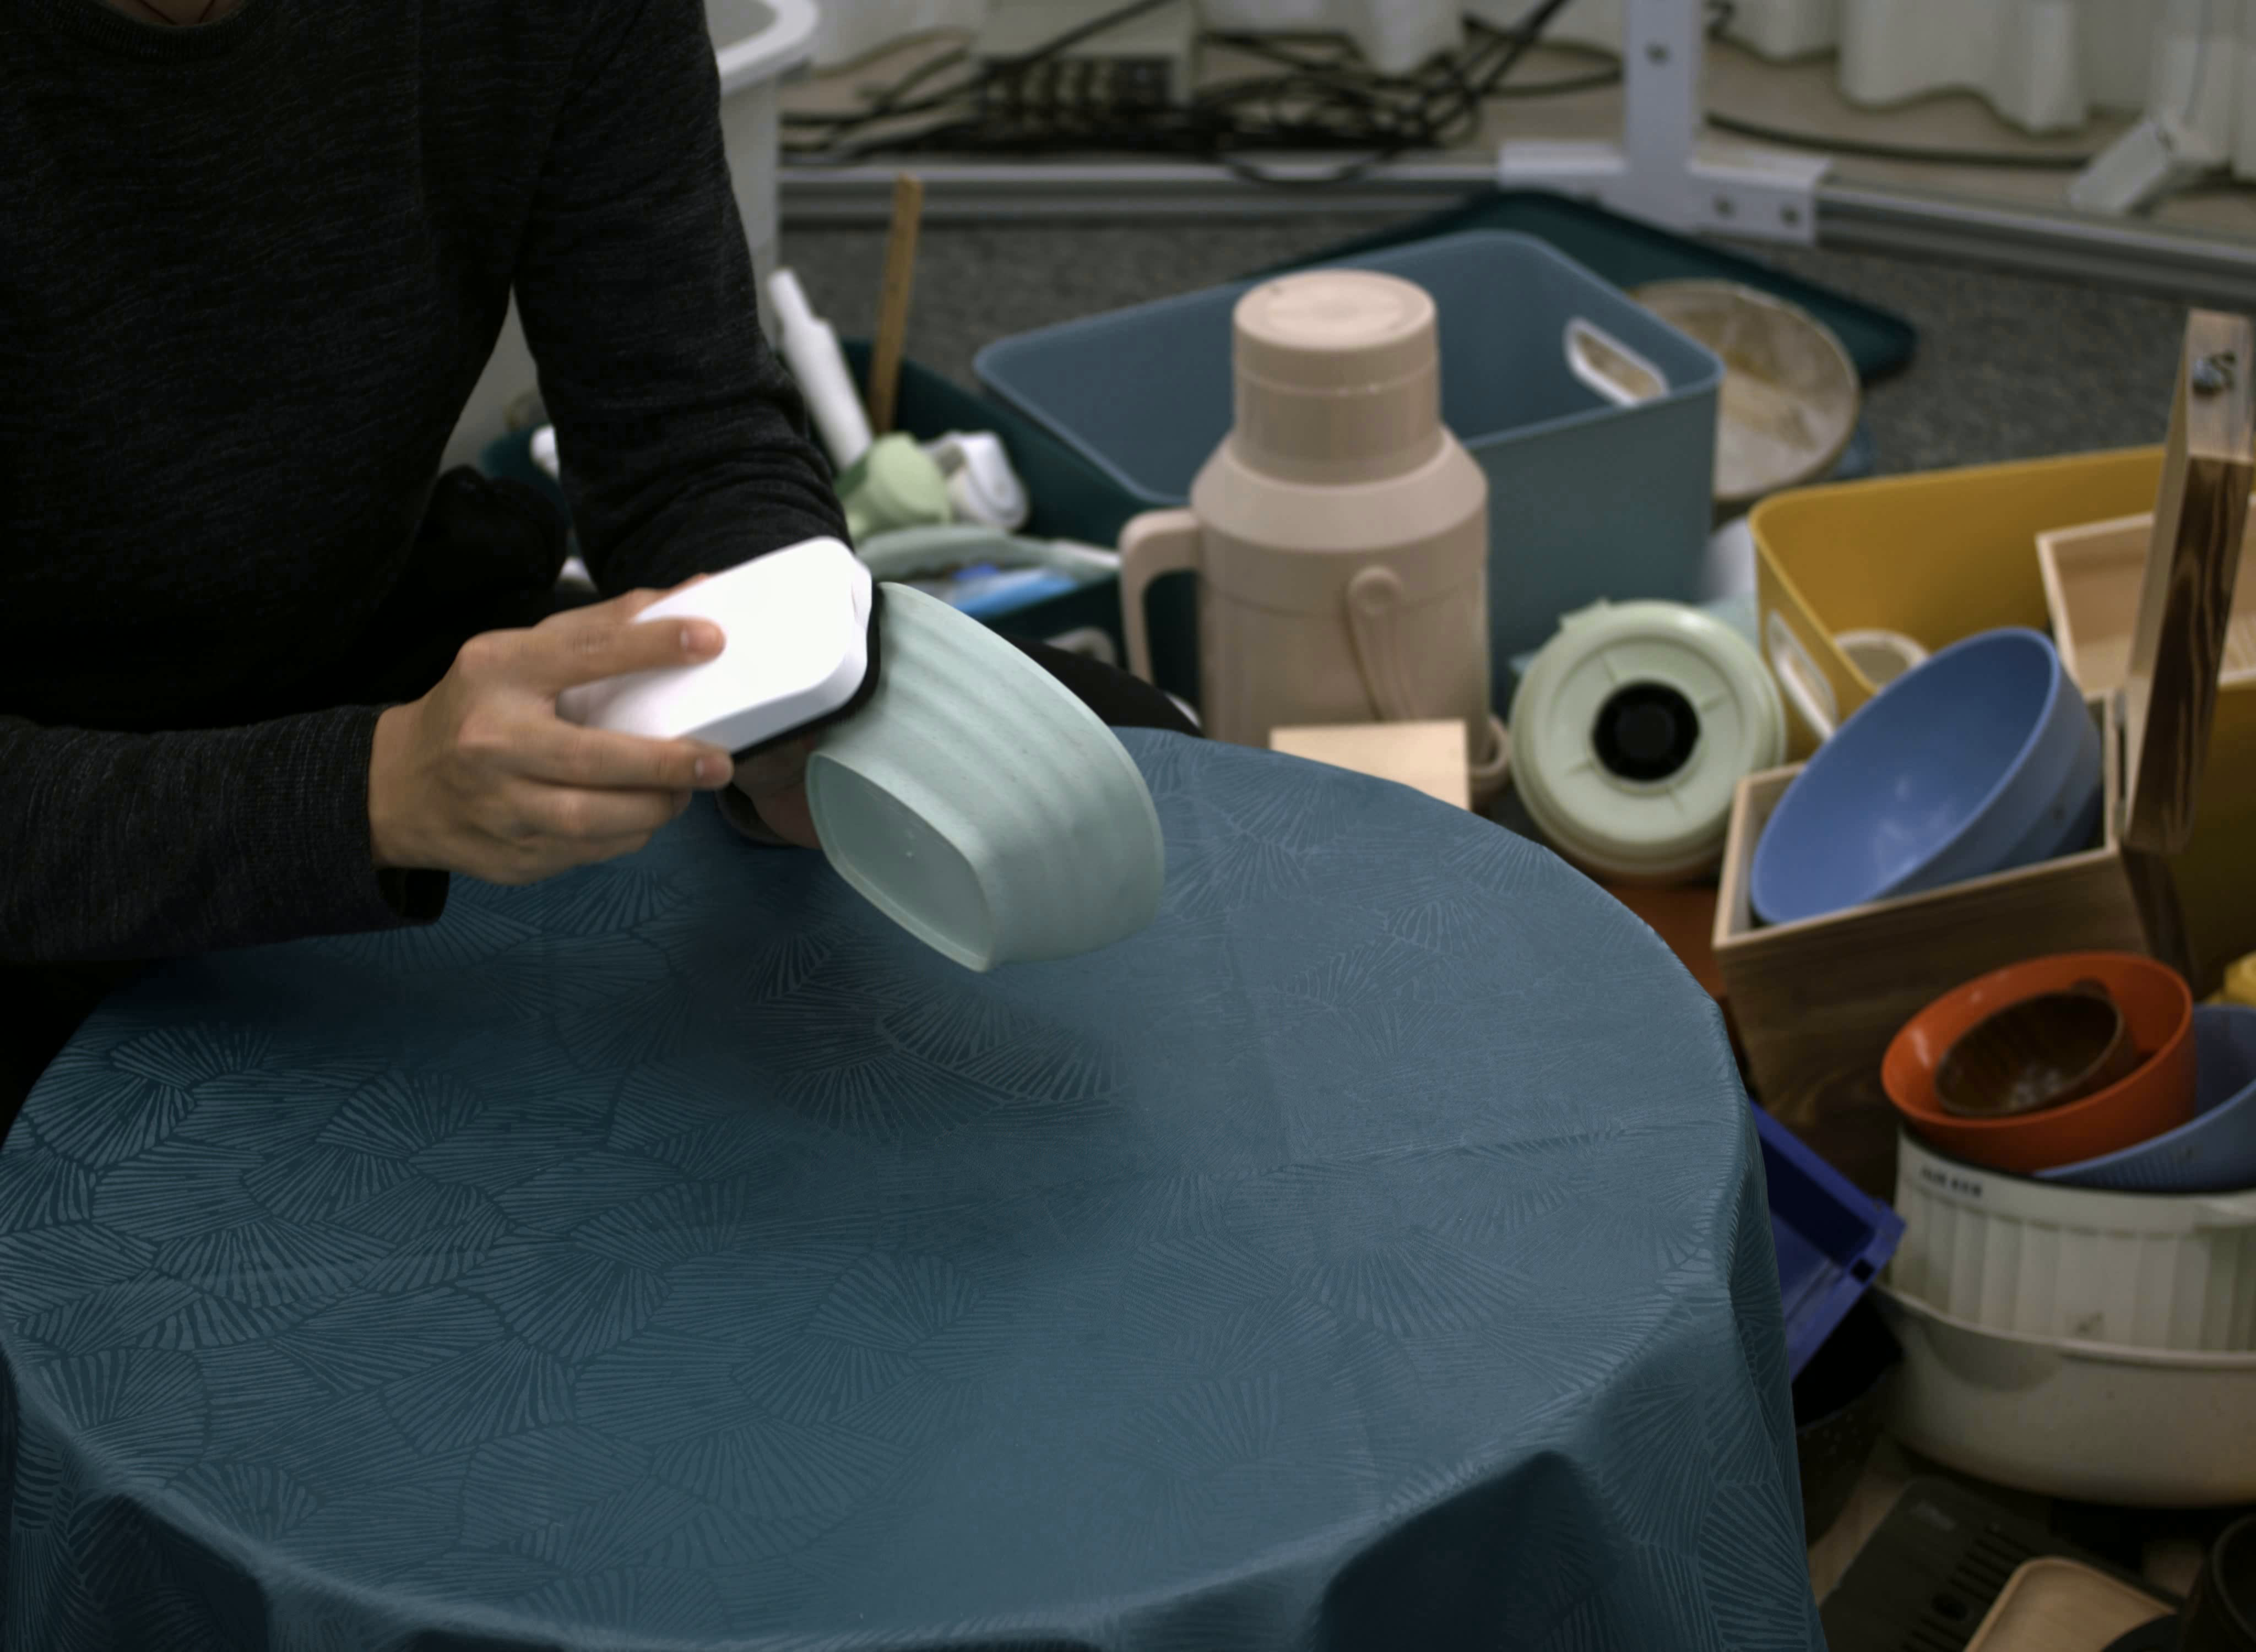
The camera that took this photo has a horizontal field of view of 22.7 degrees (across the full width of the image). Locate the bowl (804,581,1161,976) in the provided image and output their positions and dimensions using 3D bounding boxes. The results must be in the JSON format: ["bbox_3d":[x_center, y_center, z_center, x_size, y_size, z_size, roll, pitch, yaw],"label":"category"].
[{"bbox_3d":[-0.058,-0.005,1.881,0.151,0.149,0.059,24,57,42],"label":"bowl"}]

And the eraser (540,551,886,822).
[{"bbox_3d":[-0.140,-0.047,1.872,0.129,0.034,0.064,-20,49,29],"label":"eraser"}]
